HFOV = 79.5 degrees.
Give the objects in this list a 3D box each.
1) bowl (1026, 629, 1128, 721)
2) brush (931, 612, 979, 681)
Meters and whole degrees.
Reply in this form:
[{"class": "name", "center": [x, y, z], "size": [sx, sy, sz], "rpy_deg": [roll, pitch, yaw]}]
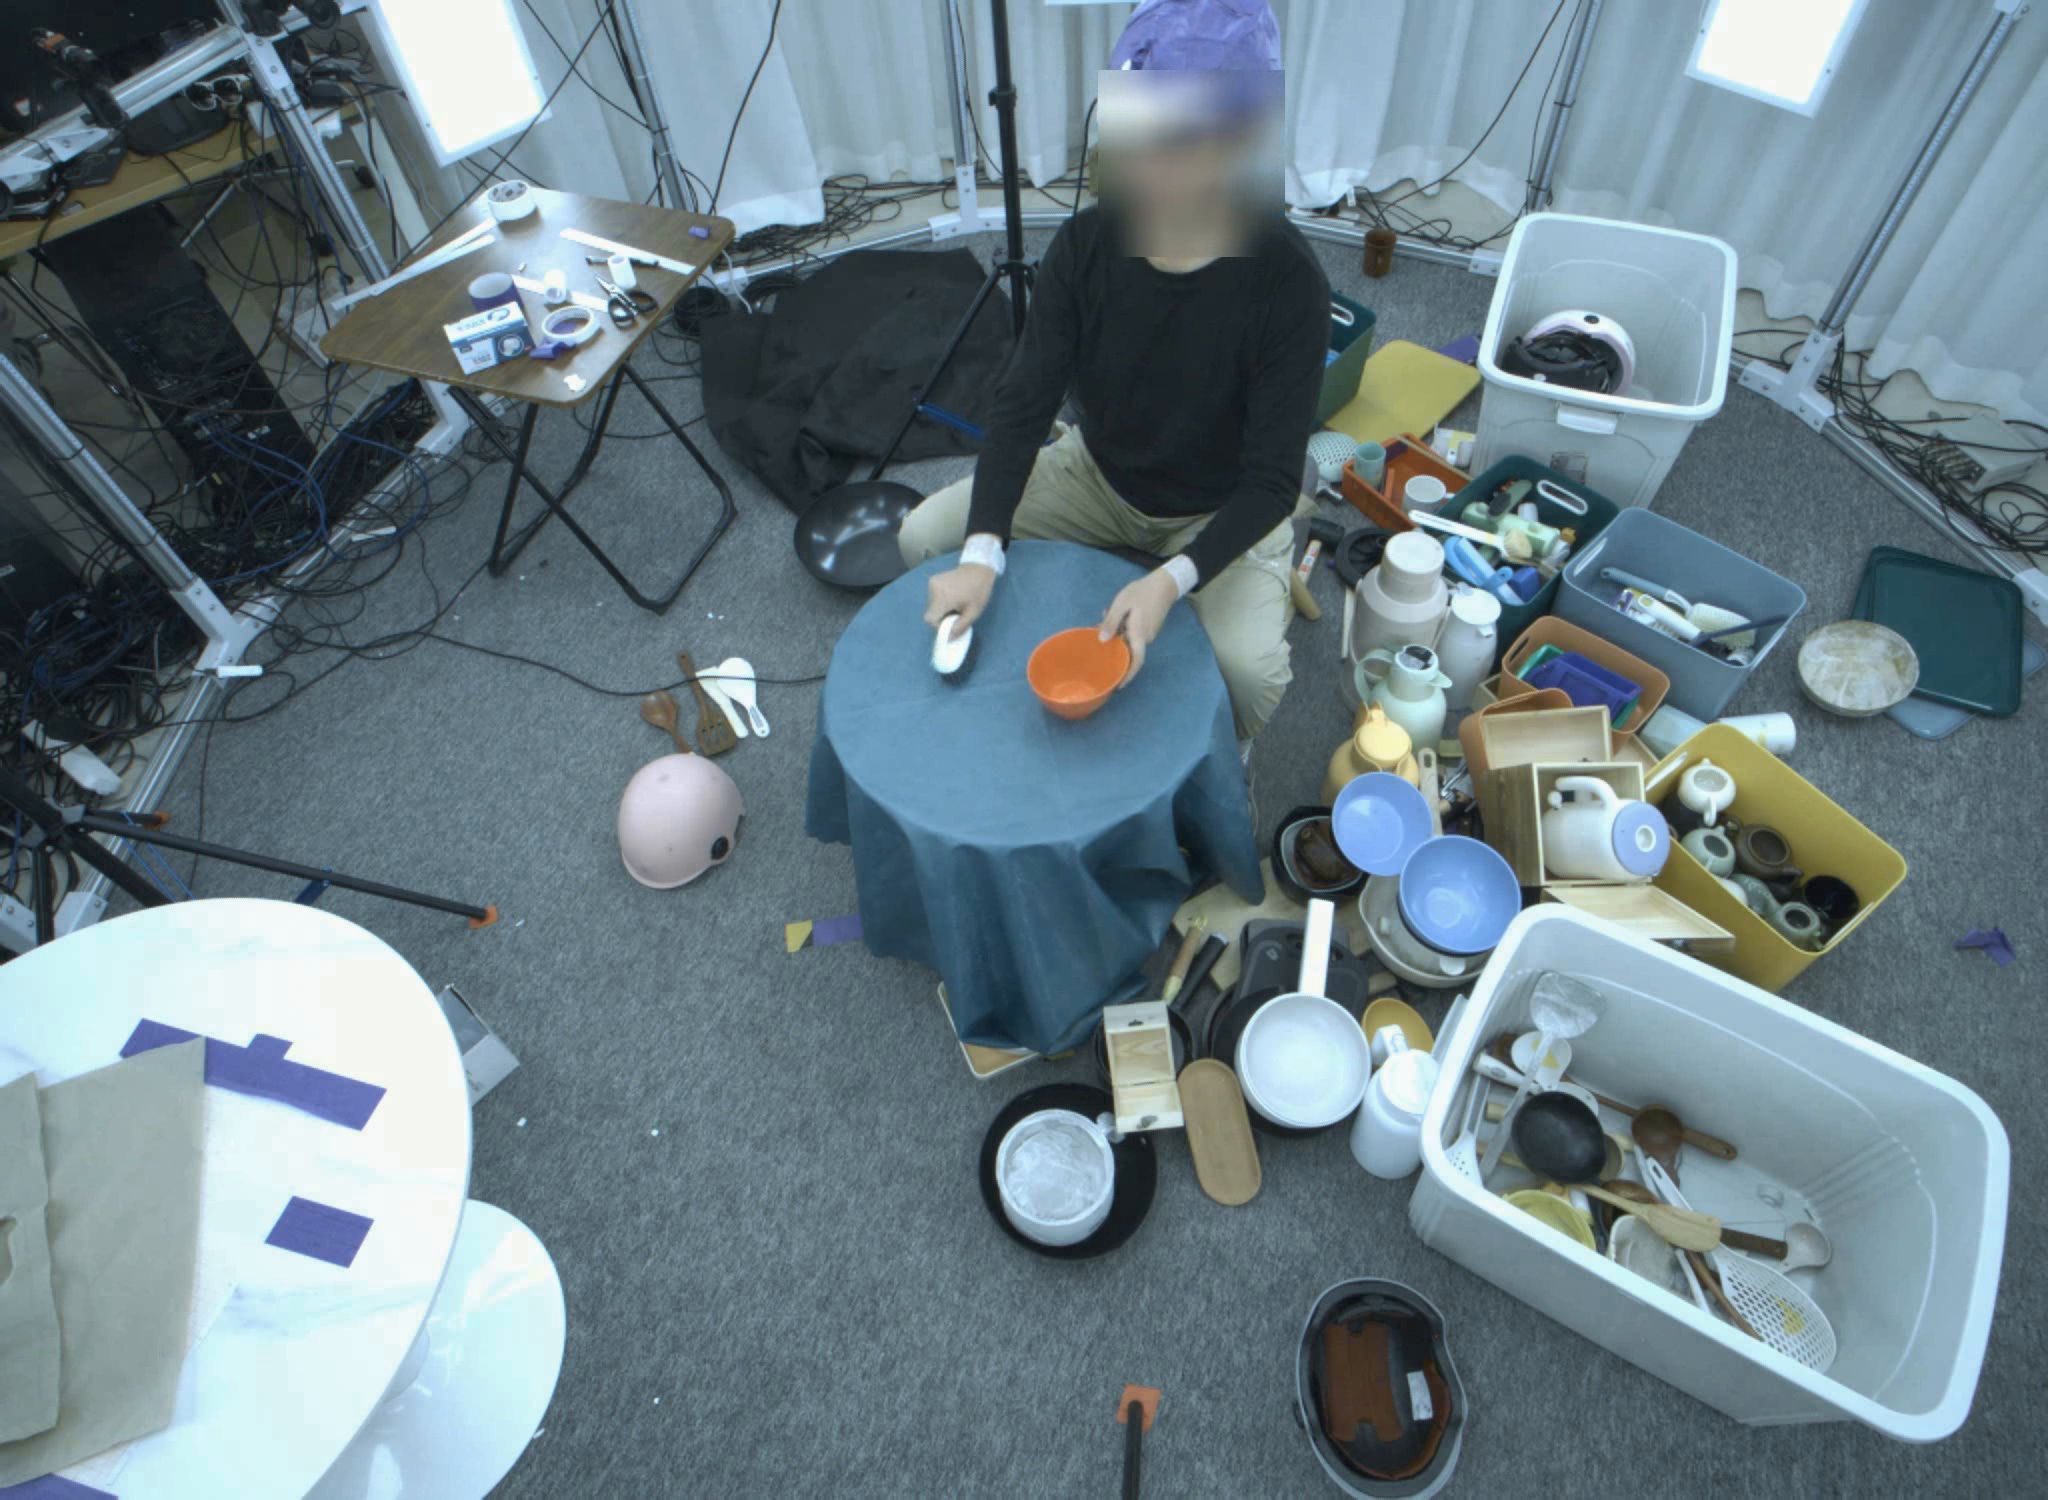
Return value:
[{"class": "bowl", "center": [0.078, -0.097, 1.793], "size": [0.148, 0.106, 0.146], "rpy_deg": [-1, 54, 3]}, {"class": "brush", "center": [-0.112, -0.164, 1.850], "size": [0.049, 0.074, 0.099], "rpy_deg": [3, 58, 27]}]
